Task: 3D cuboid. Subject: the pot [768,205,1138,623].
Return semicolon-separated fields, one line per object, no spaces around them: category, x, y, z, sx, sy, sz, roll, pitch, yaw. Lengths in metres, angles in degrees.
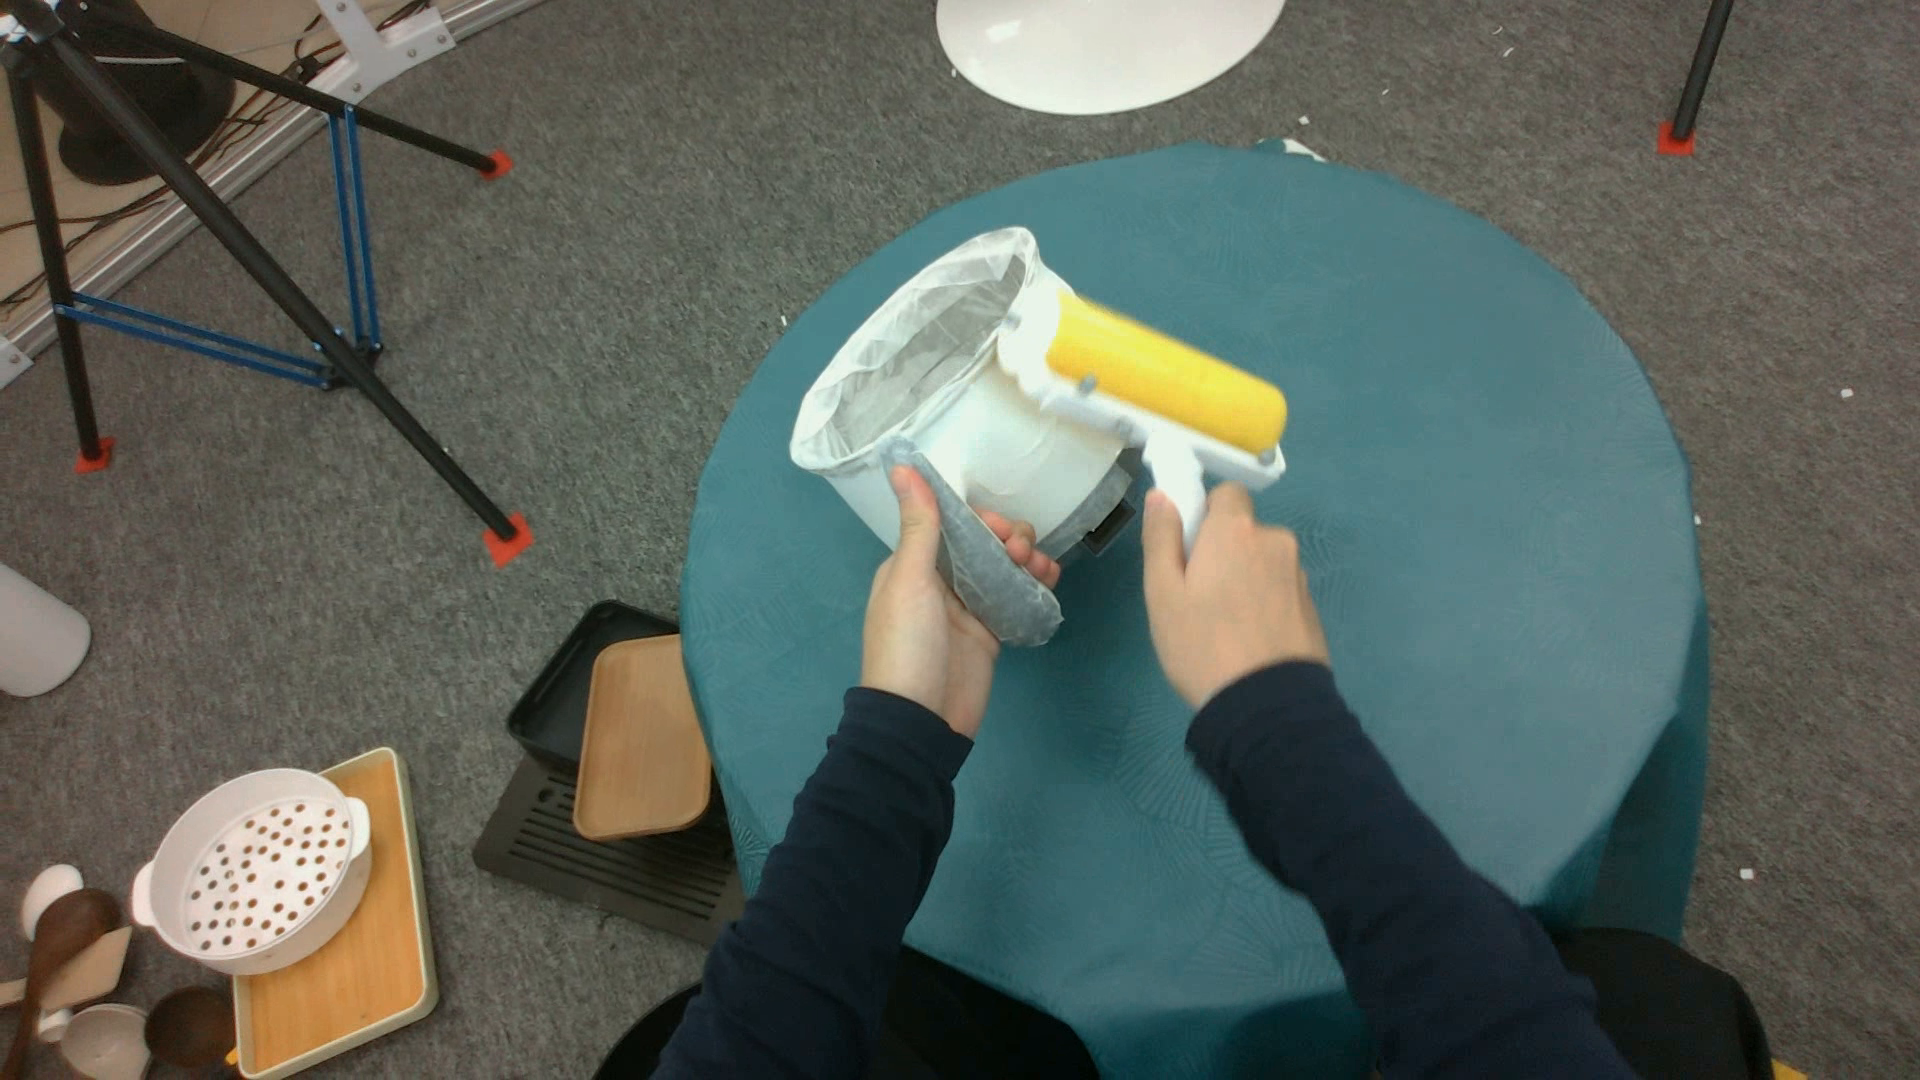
pot;0.001;-0.060;0.744;0.178;0.136;0.235;-36;27;23

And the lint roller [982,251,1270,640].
lint roller;0.106;-0.042;0.655;0.051;0.174;0.192;-48;44;30
